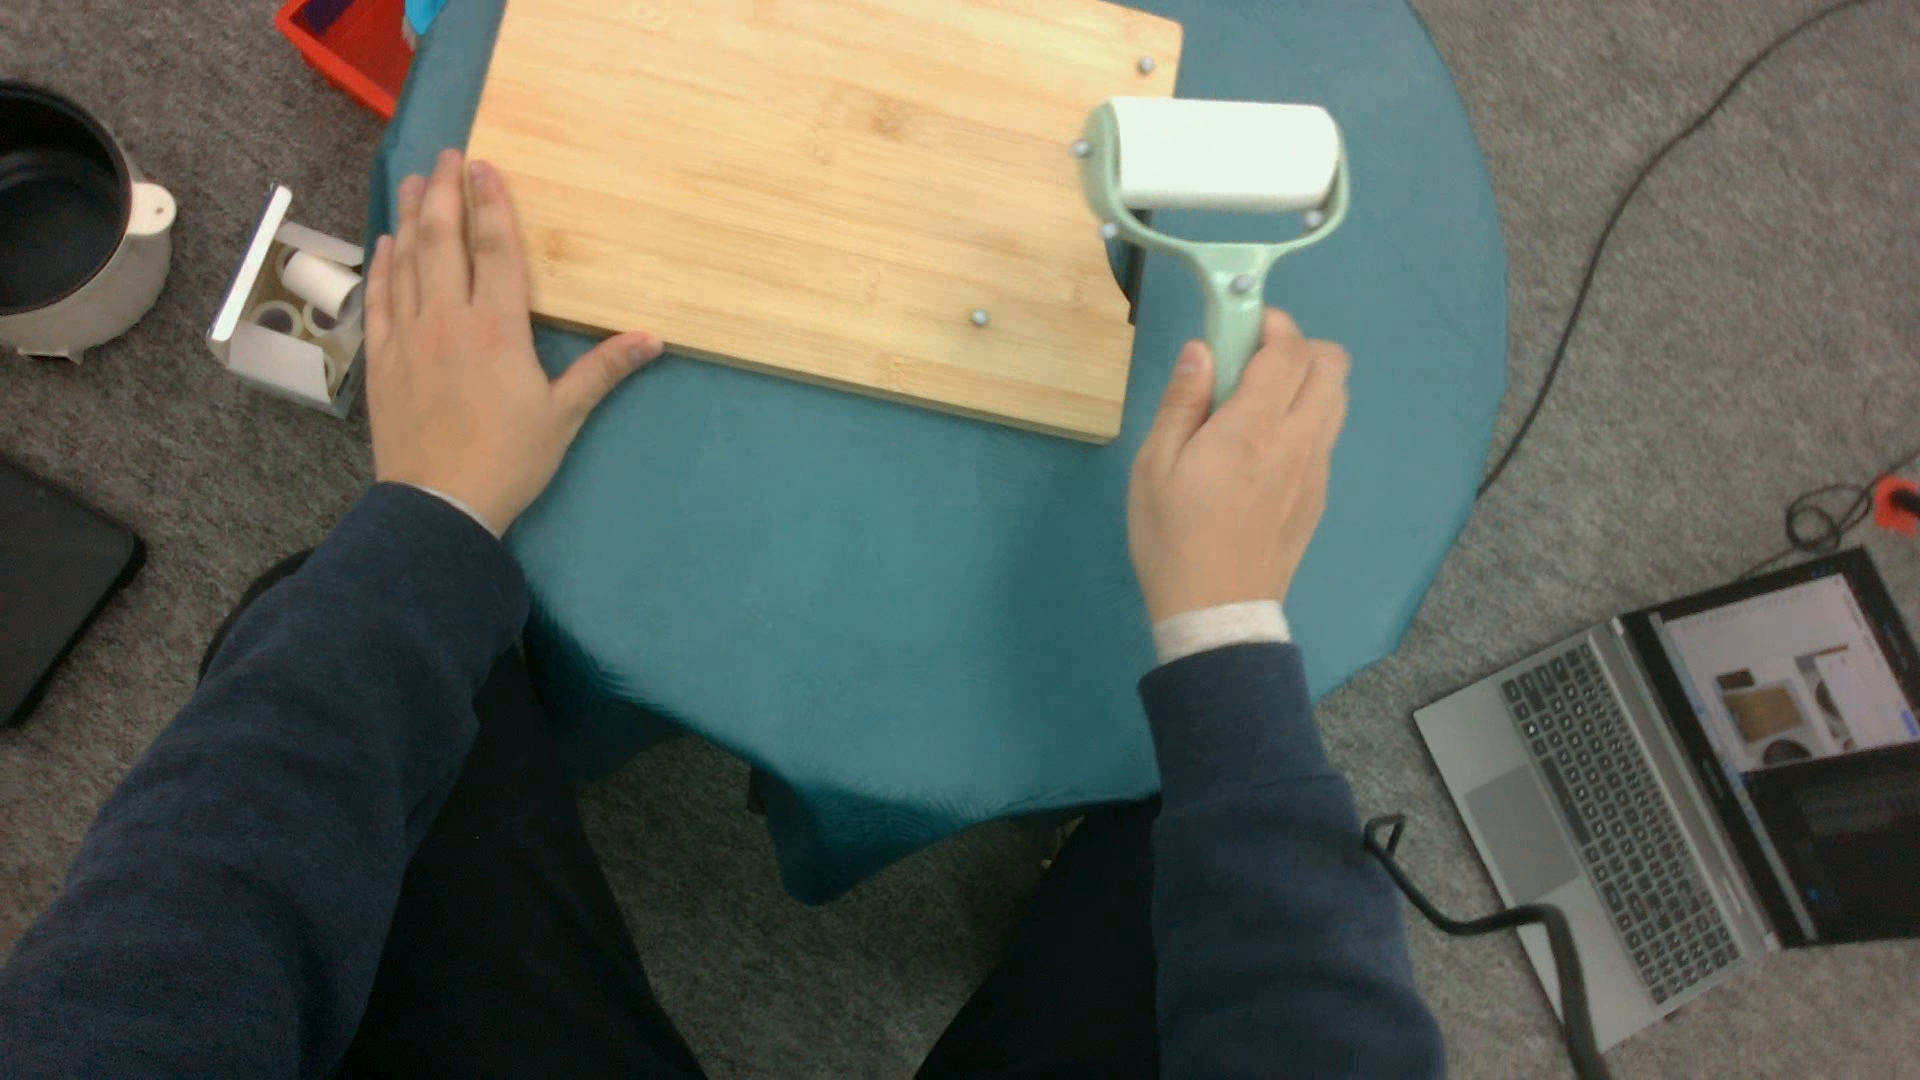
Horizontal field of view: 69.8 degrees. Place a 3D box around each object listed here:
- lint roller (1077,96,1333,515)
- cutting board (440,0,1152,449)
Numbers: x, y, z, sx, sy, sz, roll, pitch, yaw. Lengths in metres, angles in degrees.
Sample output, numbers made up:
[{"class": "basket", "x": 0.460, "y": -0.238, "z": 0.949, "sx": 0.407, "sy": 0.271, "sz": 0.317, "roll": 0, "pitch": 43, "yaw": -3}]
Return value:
[{"class": "lint roller", "x": 0.119, "y": -0.111, "z": 0.646, "sx": 0.117, "sy": 0.048, "sz": 0.197, "roll": -3, "pitch": 86, "yaw": -12}, {"class": "cutting board", "x": -0.074, "y": -0.189, "z": 0.723, "sx": 0.349, "sy": 0.023, "sz": 0.251, "roll": 6, "pitch": 79, "yaw": -9}]
